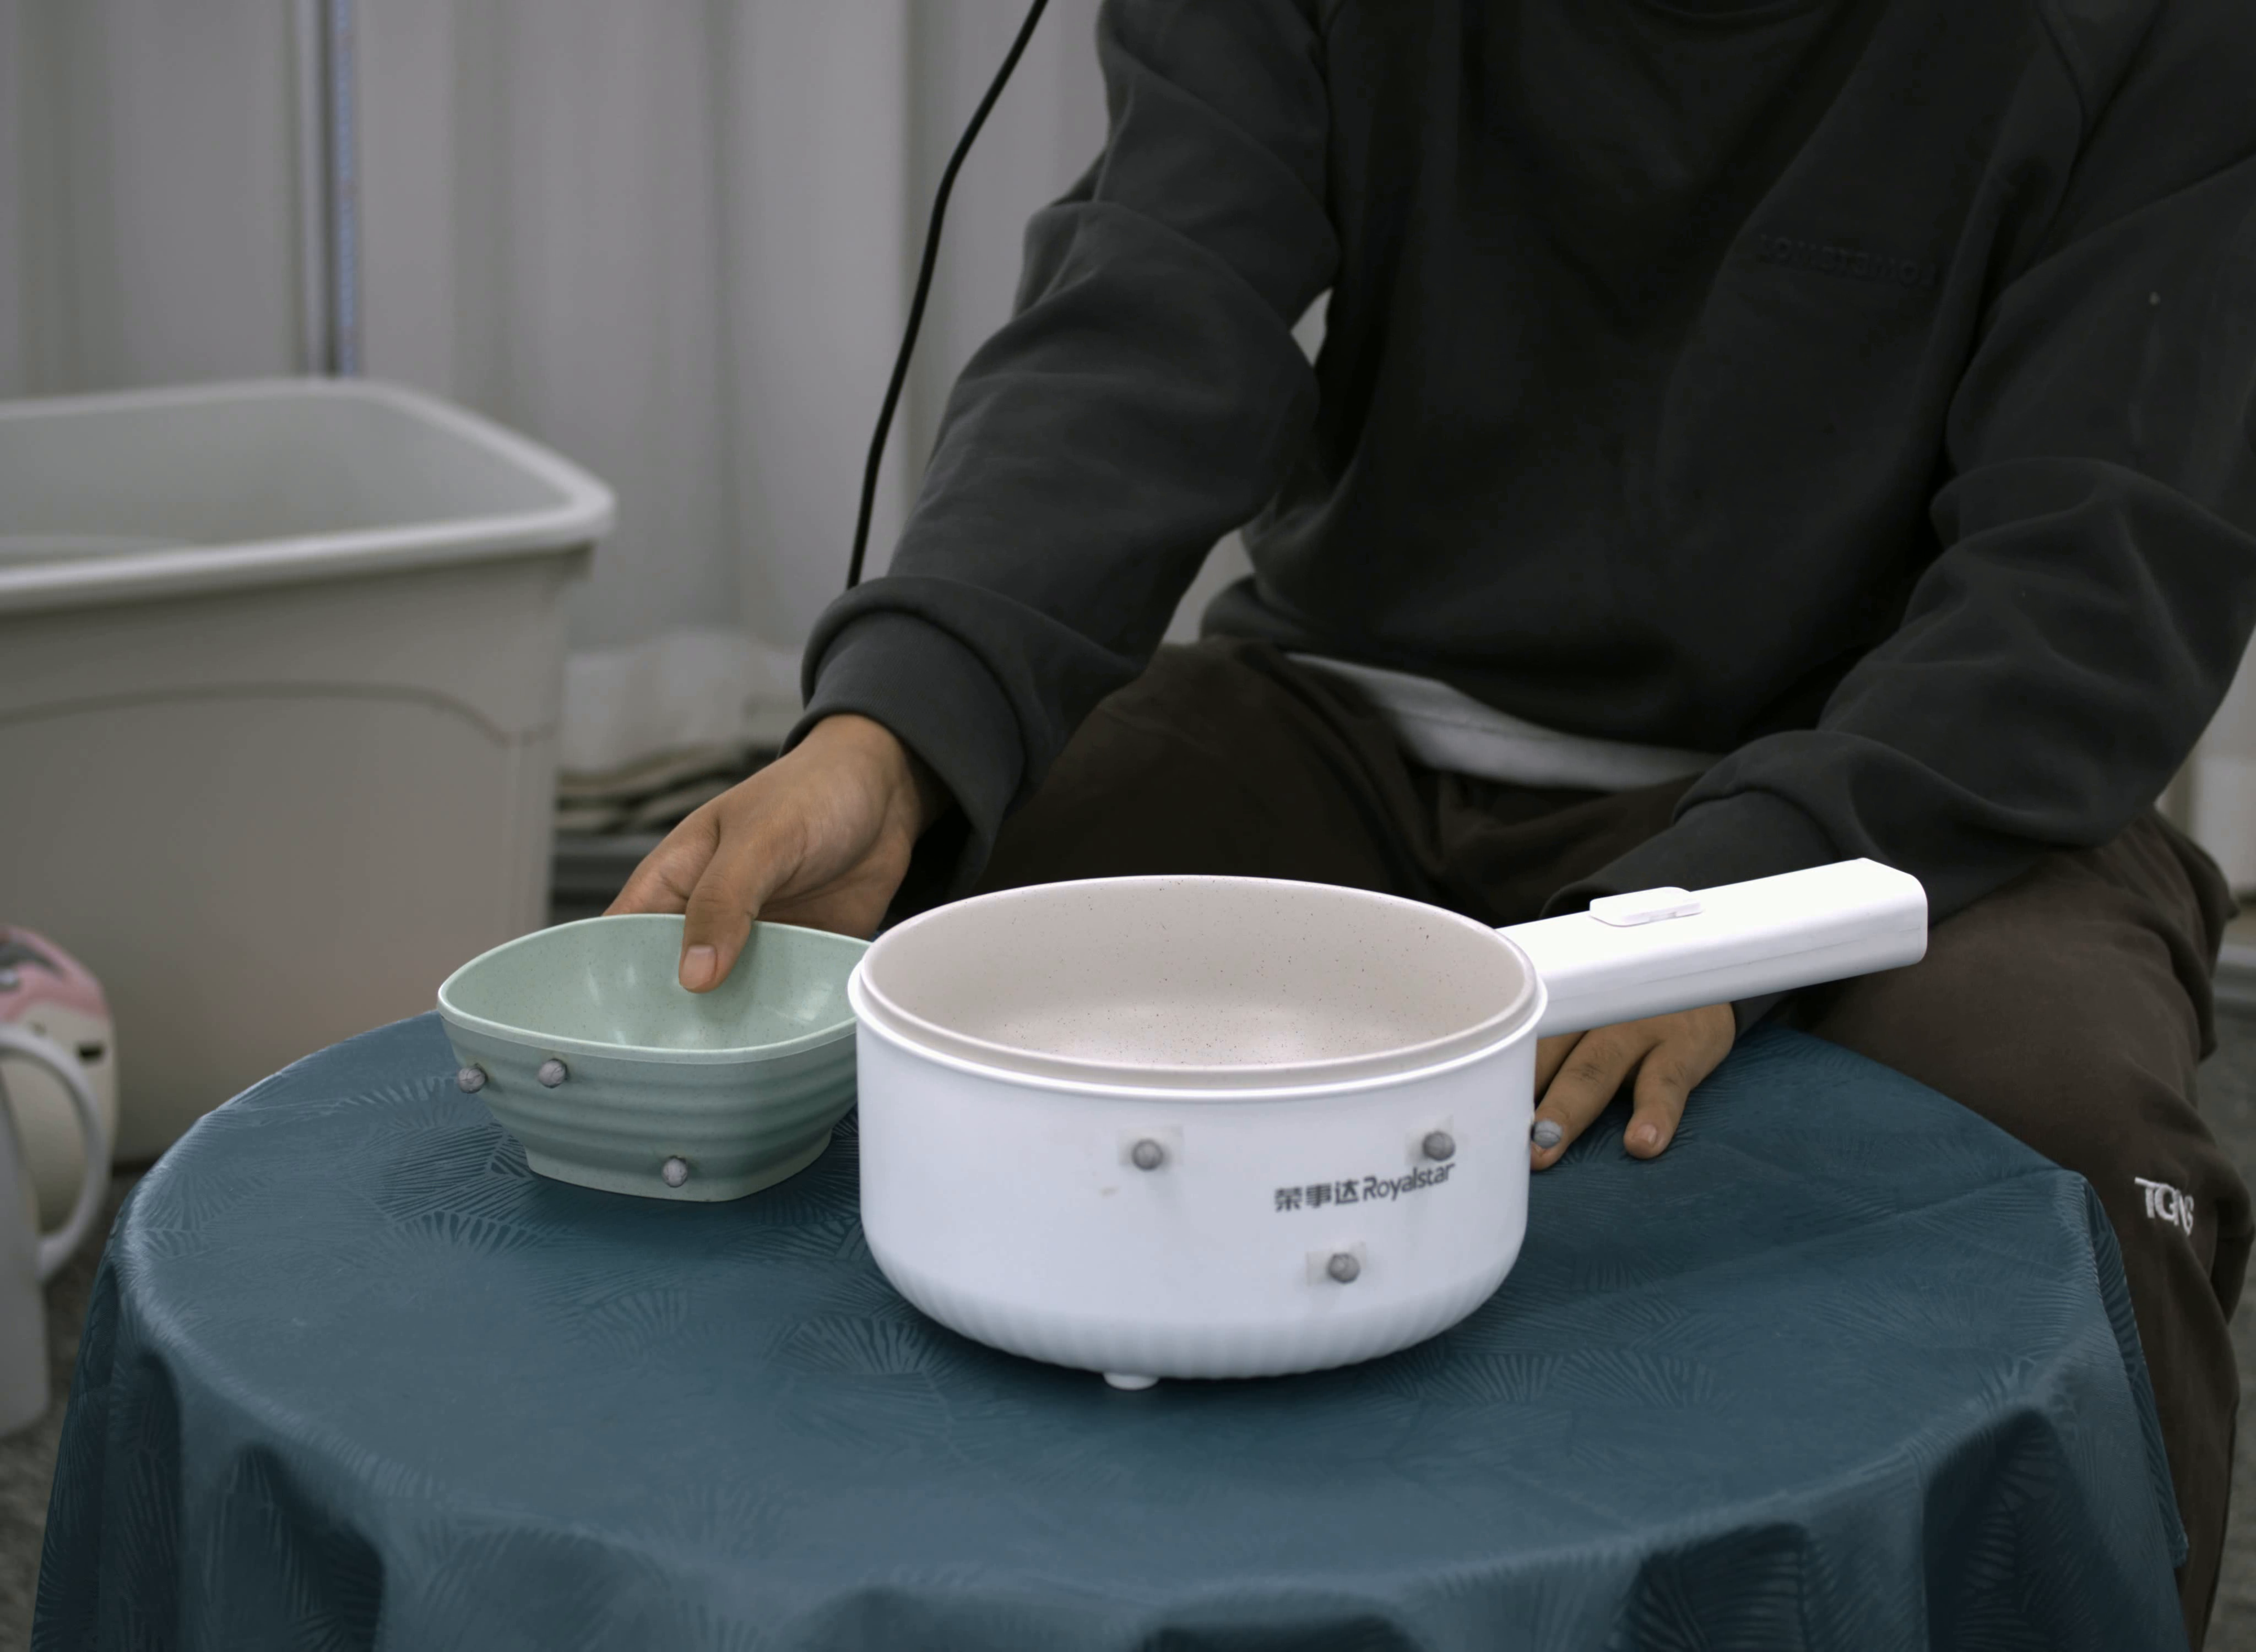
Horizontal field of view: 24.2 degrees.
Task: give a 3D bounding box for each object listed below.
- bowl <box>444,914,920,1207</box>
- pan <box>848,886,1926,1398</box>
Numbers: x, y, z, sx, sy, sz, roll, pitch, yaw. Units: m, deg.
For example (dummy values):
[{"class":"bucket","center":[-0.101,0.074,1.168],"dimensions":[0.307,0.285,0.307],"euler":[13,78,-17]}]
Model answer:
[{"class":"bowl","center":[-0.138,0.076,1.646],"dimensions":[0.151,0.059,0.150],"euler":[0,17,1]},{"class":"pan","center":[0.085,0.085,1.564],"dimensions":[0.356,0.103,0.199],"euler":[-7,14,-31]}]
